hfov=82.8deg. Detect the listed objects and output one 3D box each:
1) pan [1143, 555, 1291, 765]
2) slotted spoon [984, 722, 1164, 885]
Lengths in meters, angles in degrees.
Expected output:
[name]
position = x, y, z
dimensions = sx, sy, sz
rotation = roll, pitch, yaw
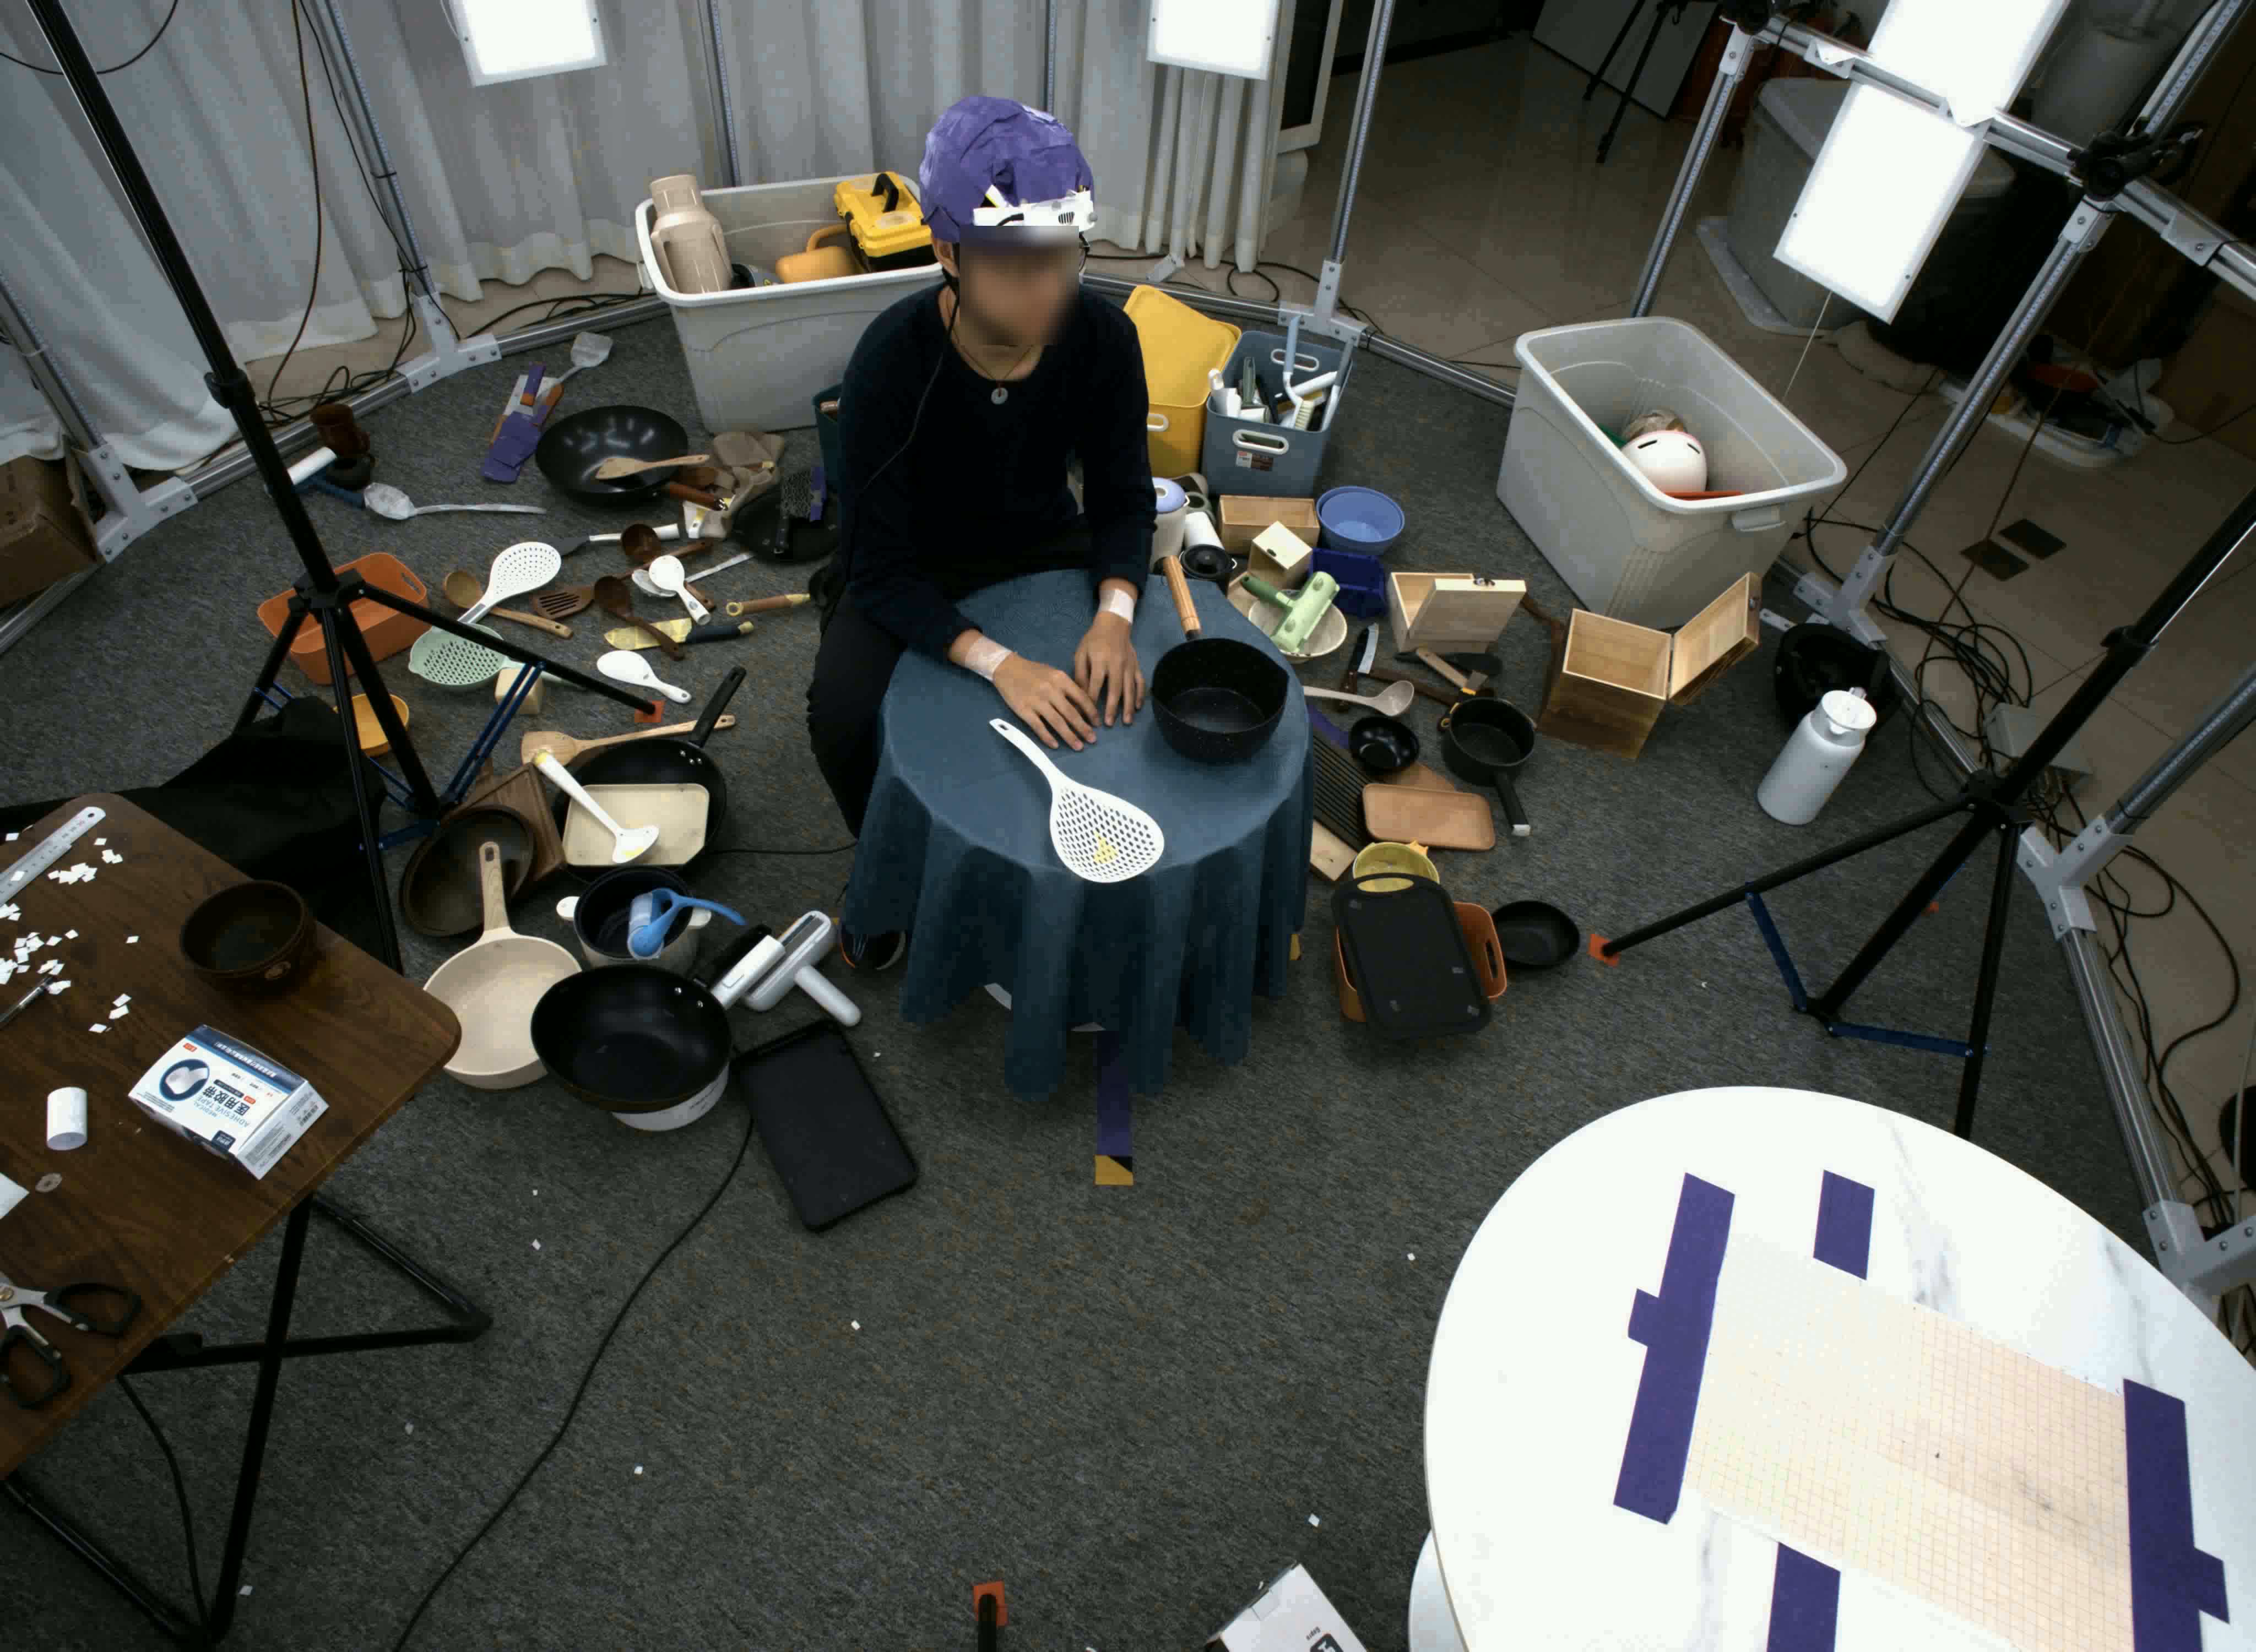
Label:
[pan]
position = 0.100, -0.234, 1.809
dimensions = 0.207, 0.105, 0.351
rotation = -11, 52, -12
[slotted spoon]
position = -0.088, -0.044, 1.672
dimensions = 0.137, 0.049, 0.354
rotation = -27, 57, -23
